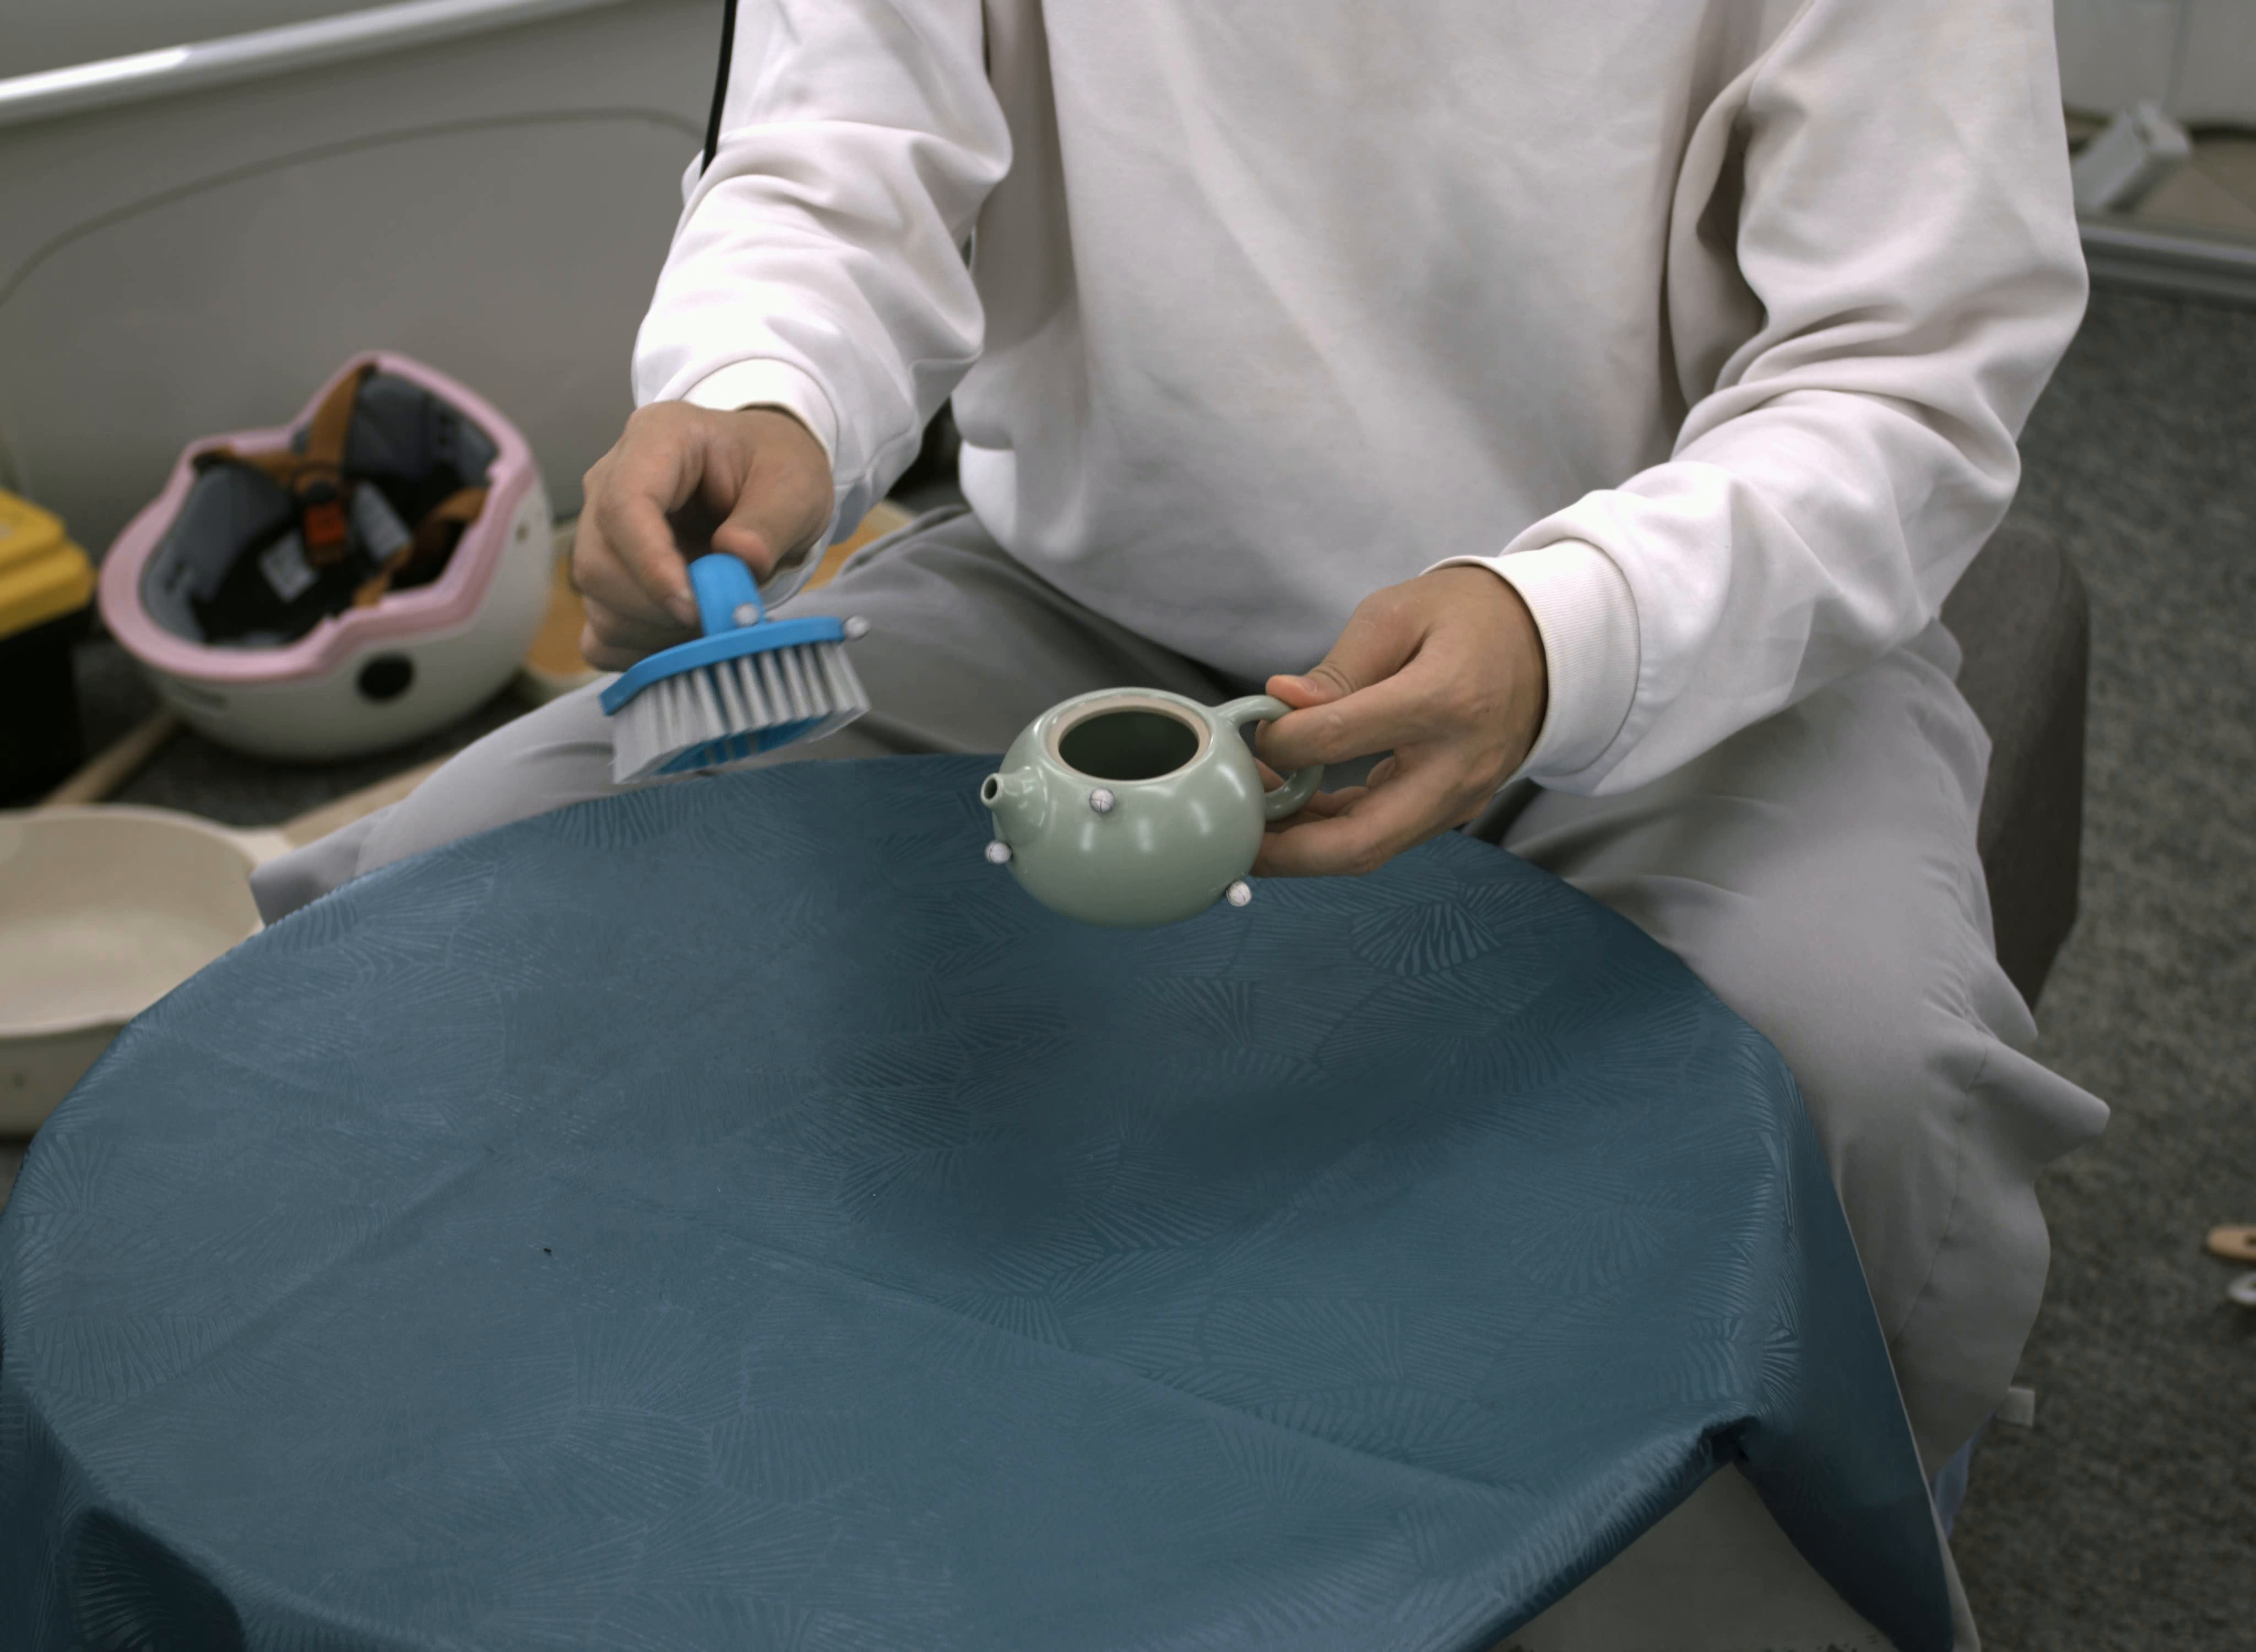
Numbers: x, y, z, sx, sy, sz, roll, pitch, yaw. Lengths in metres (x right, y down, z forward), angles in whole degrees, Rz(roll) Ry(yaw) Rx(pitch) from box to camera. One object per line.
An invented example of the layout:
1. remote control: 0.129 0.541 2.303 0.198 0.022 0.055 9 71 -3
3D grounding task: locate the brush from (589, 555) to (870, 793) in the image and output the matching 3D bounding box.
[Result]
1. brush: -0.140 -0.055 1.885 0.084 0.064 0.141 -18 -3 -13

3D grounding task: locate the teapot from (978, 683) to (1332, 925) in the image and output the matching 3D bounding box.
1. teapot: 0.010 -0.009 1.874 0.129 0.060 0.092 -14 31 -20
